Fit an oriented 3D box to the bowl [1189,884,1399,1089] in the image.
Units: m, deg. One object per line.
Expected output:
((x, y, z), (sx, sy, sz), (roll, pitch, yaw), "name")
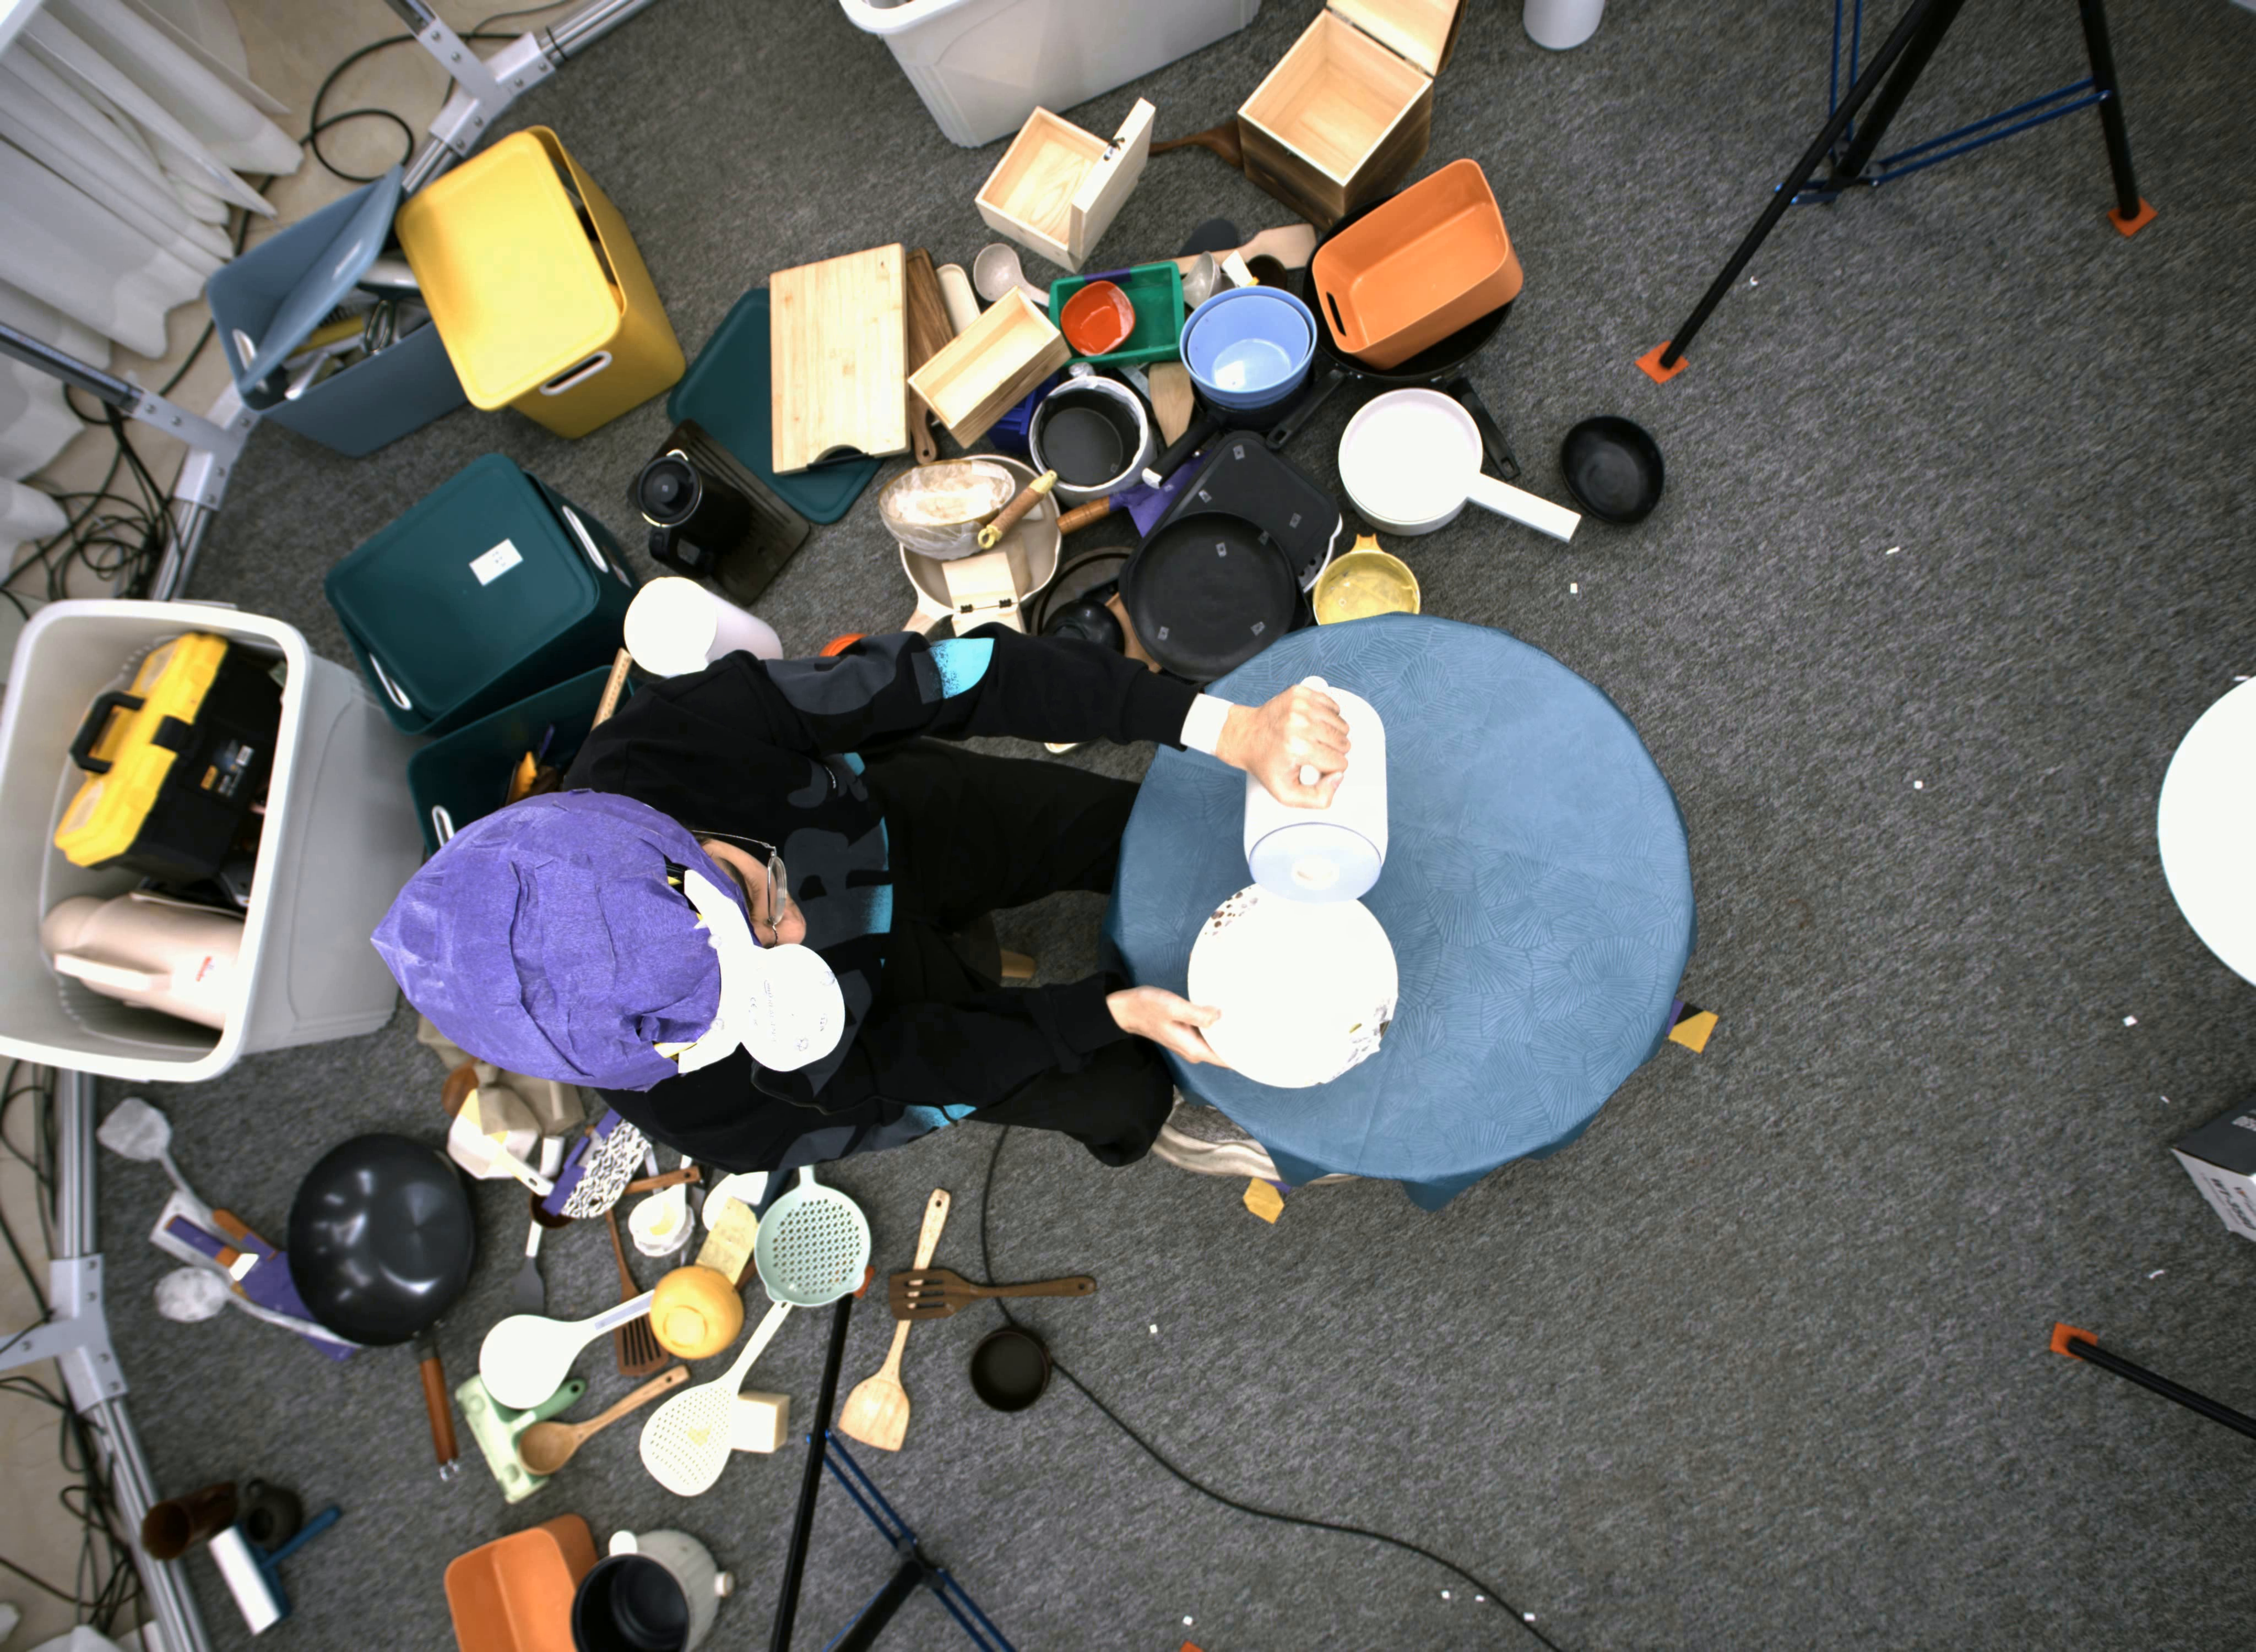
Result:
((0.166, 0.155, 1.375), (0.205, 0.078, 0.203), (-1, 85, 12), "bowl")

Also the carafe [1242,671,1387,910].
((0.169, -0.045, 1.265), (0.133, 0.195, 0.177), (-3, 48, 11), "carafe")
